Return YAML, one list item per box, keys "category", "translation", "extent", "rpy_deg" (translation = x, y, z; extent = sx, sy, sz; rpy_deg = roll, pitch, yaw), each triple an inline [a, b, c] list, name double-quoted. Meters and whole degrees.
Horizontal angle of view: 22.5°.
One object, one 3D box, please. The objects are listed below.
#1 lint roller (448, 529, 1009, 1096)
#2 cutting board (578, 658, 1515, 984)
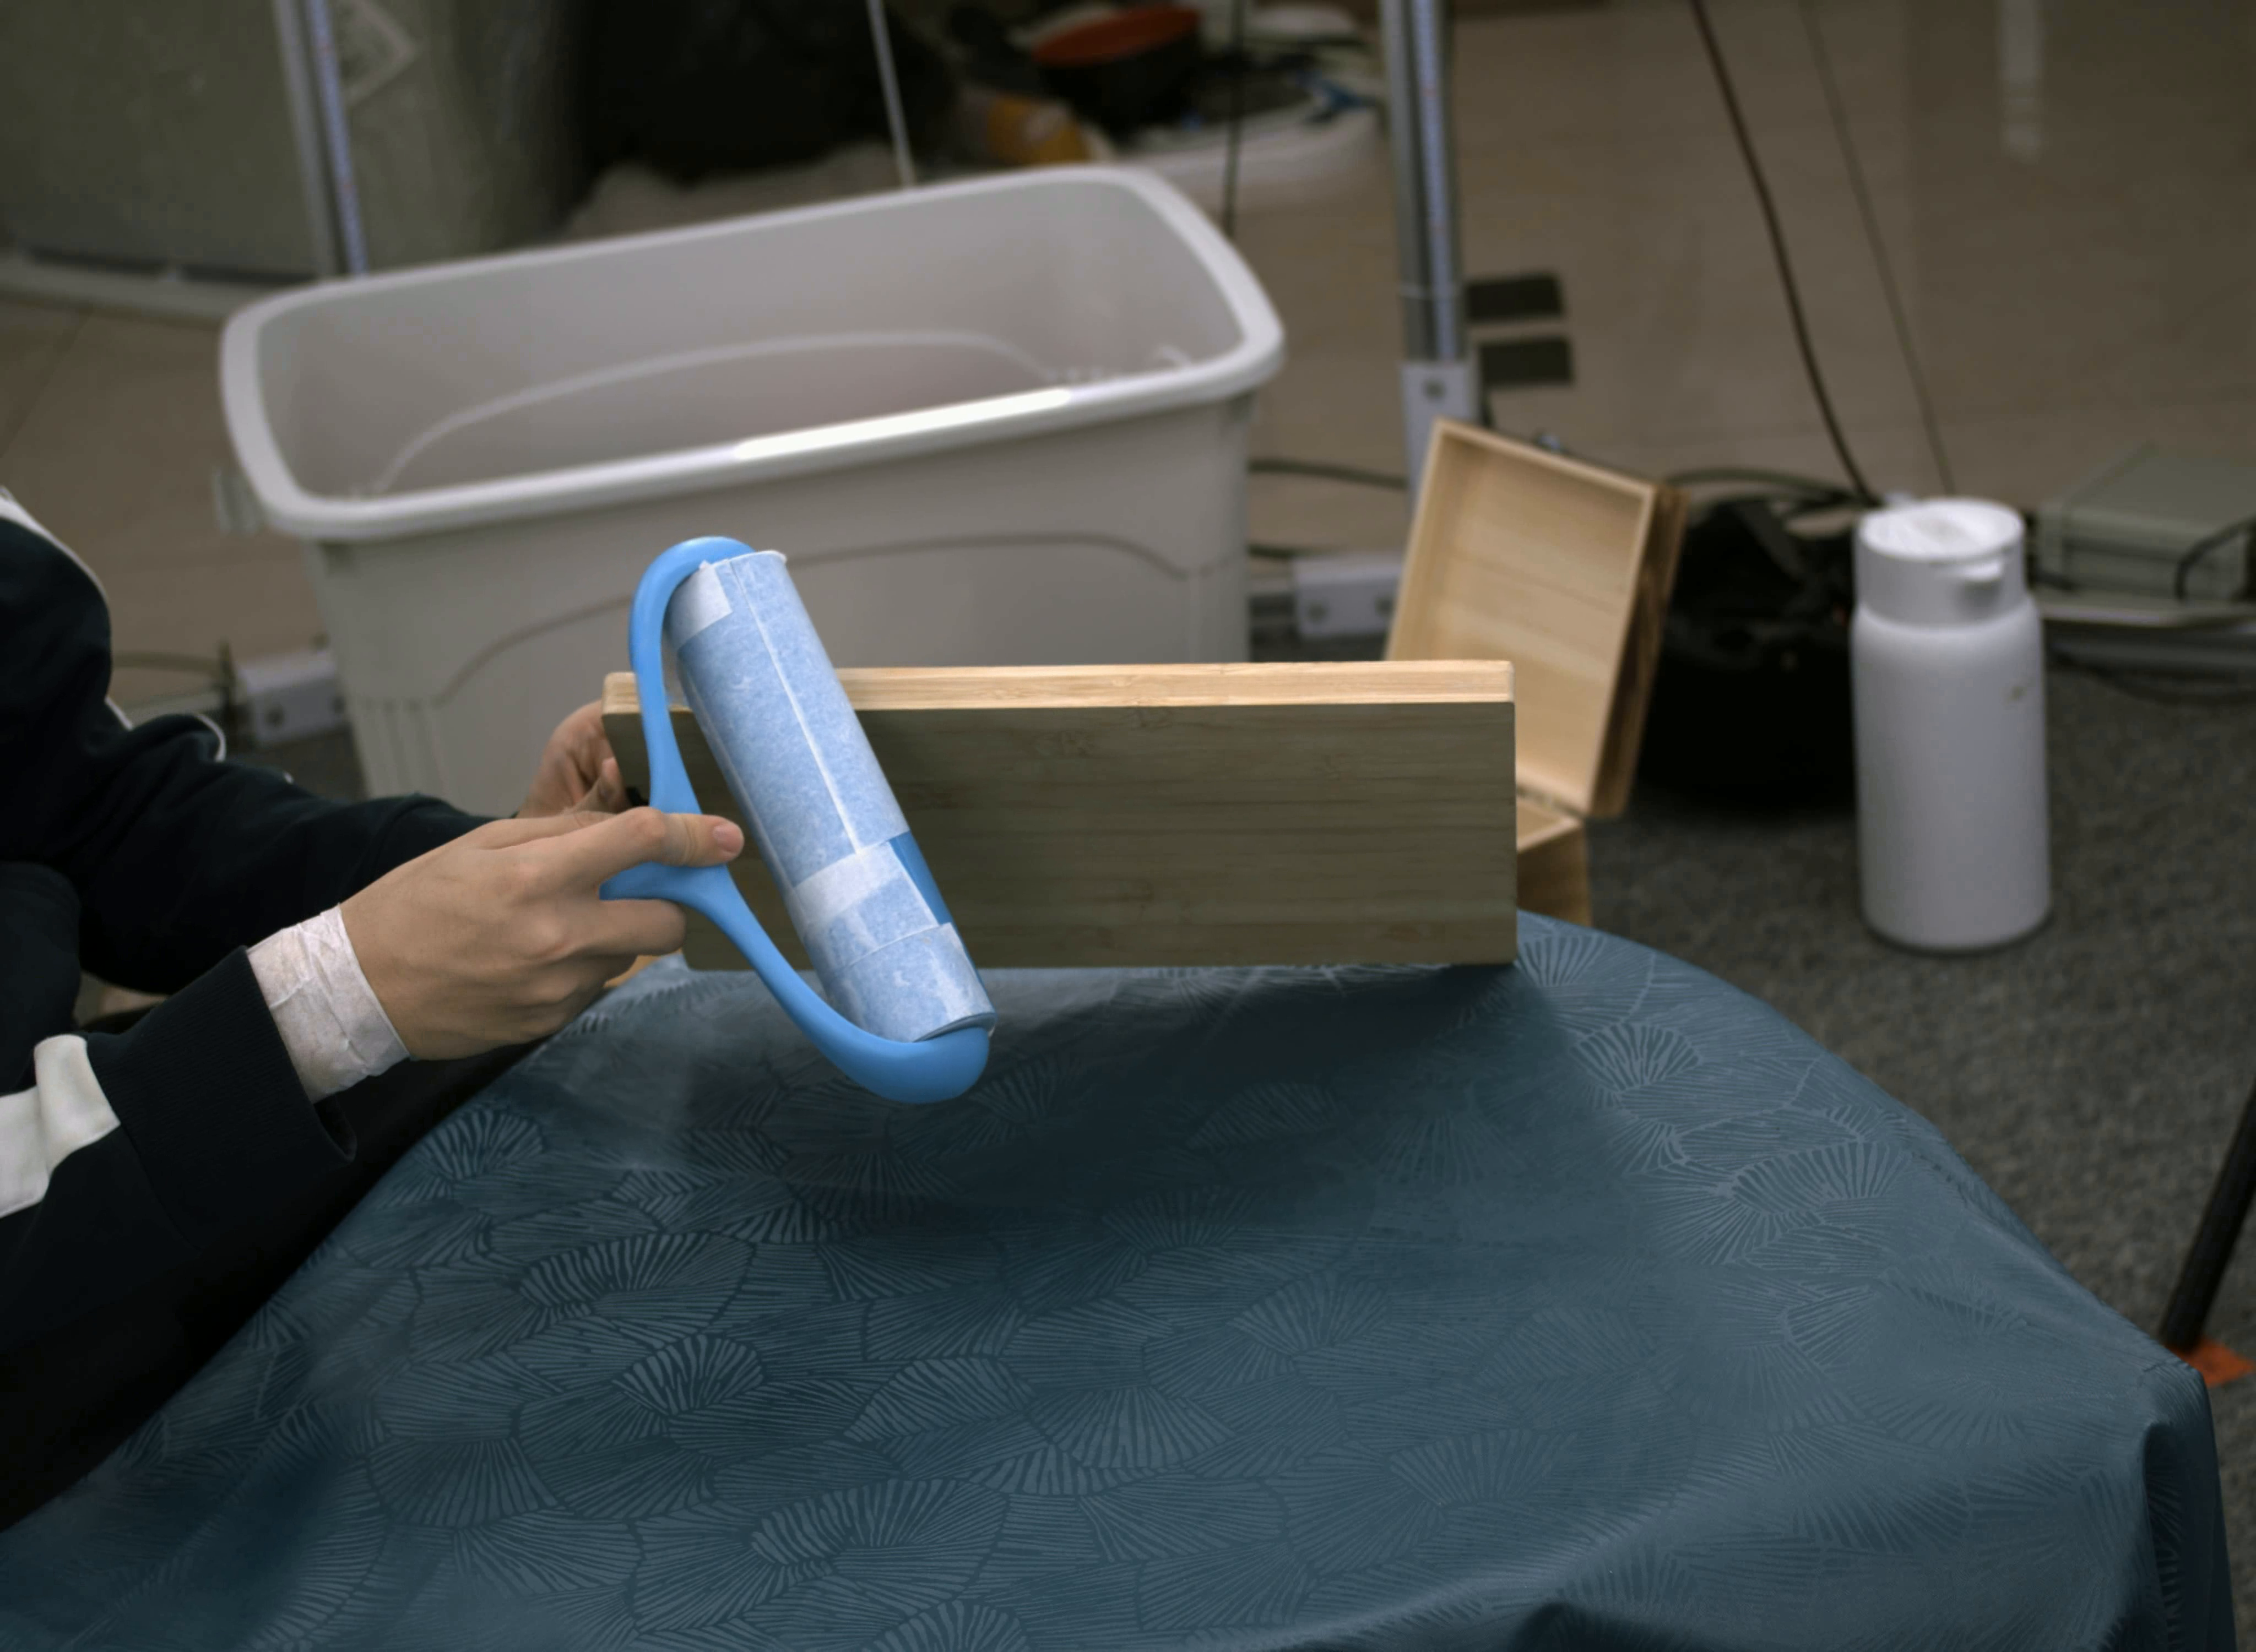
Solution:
- category: "lint roller"
  translation: [-0.160, 0.019, 2.039]
  extent: [0.179, 0.228, 0.068]
  rpy_deg: [-26, -10, -12]
- category: "cutting board"
  translation: [-0.024, 0.001, 2.192]
  extent: [0.348, 0.254, 0.023]
  rpy_deg: [0, 65, 3]
